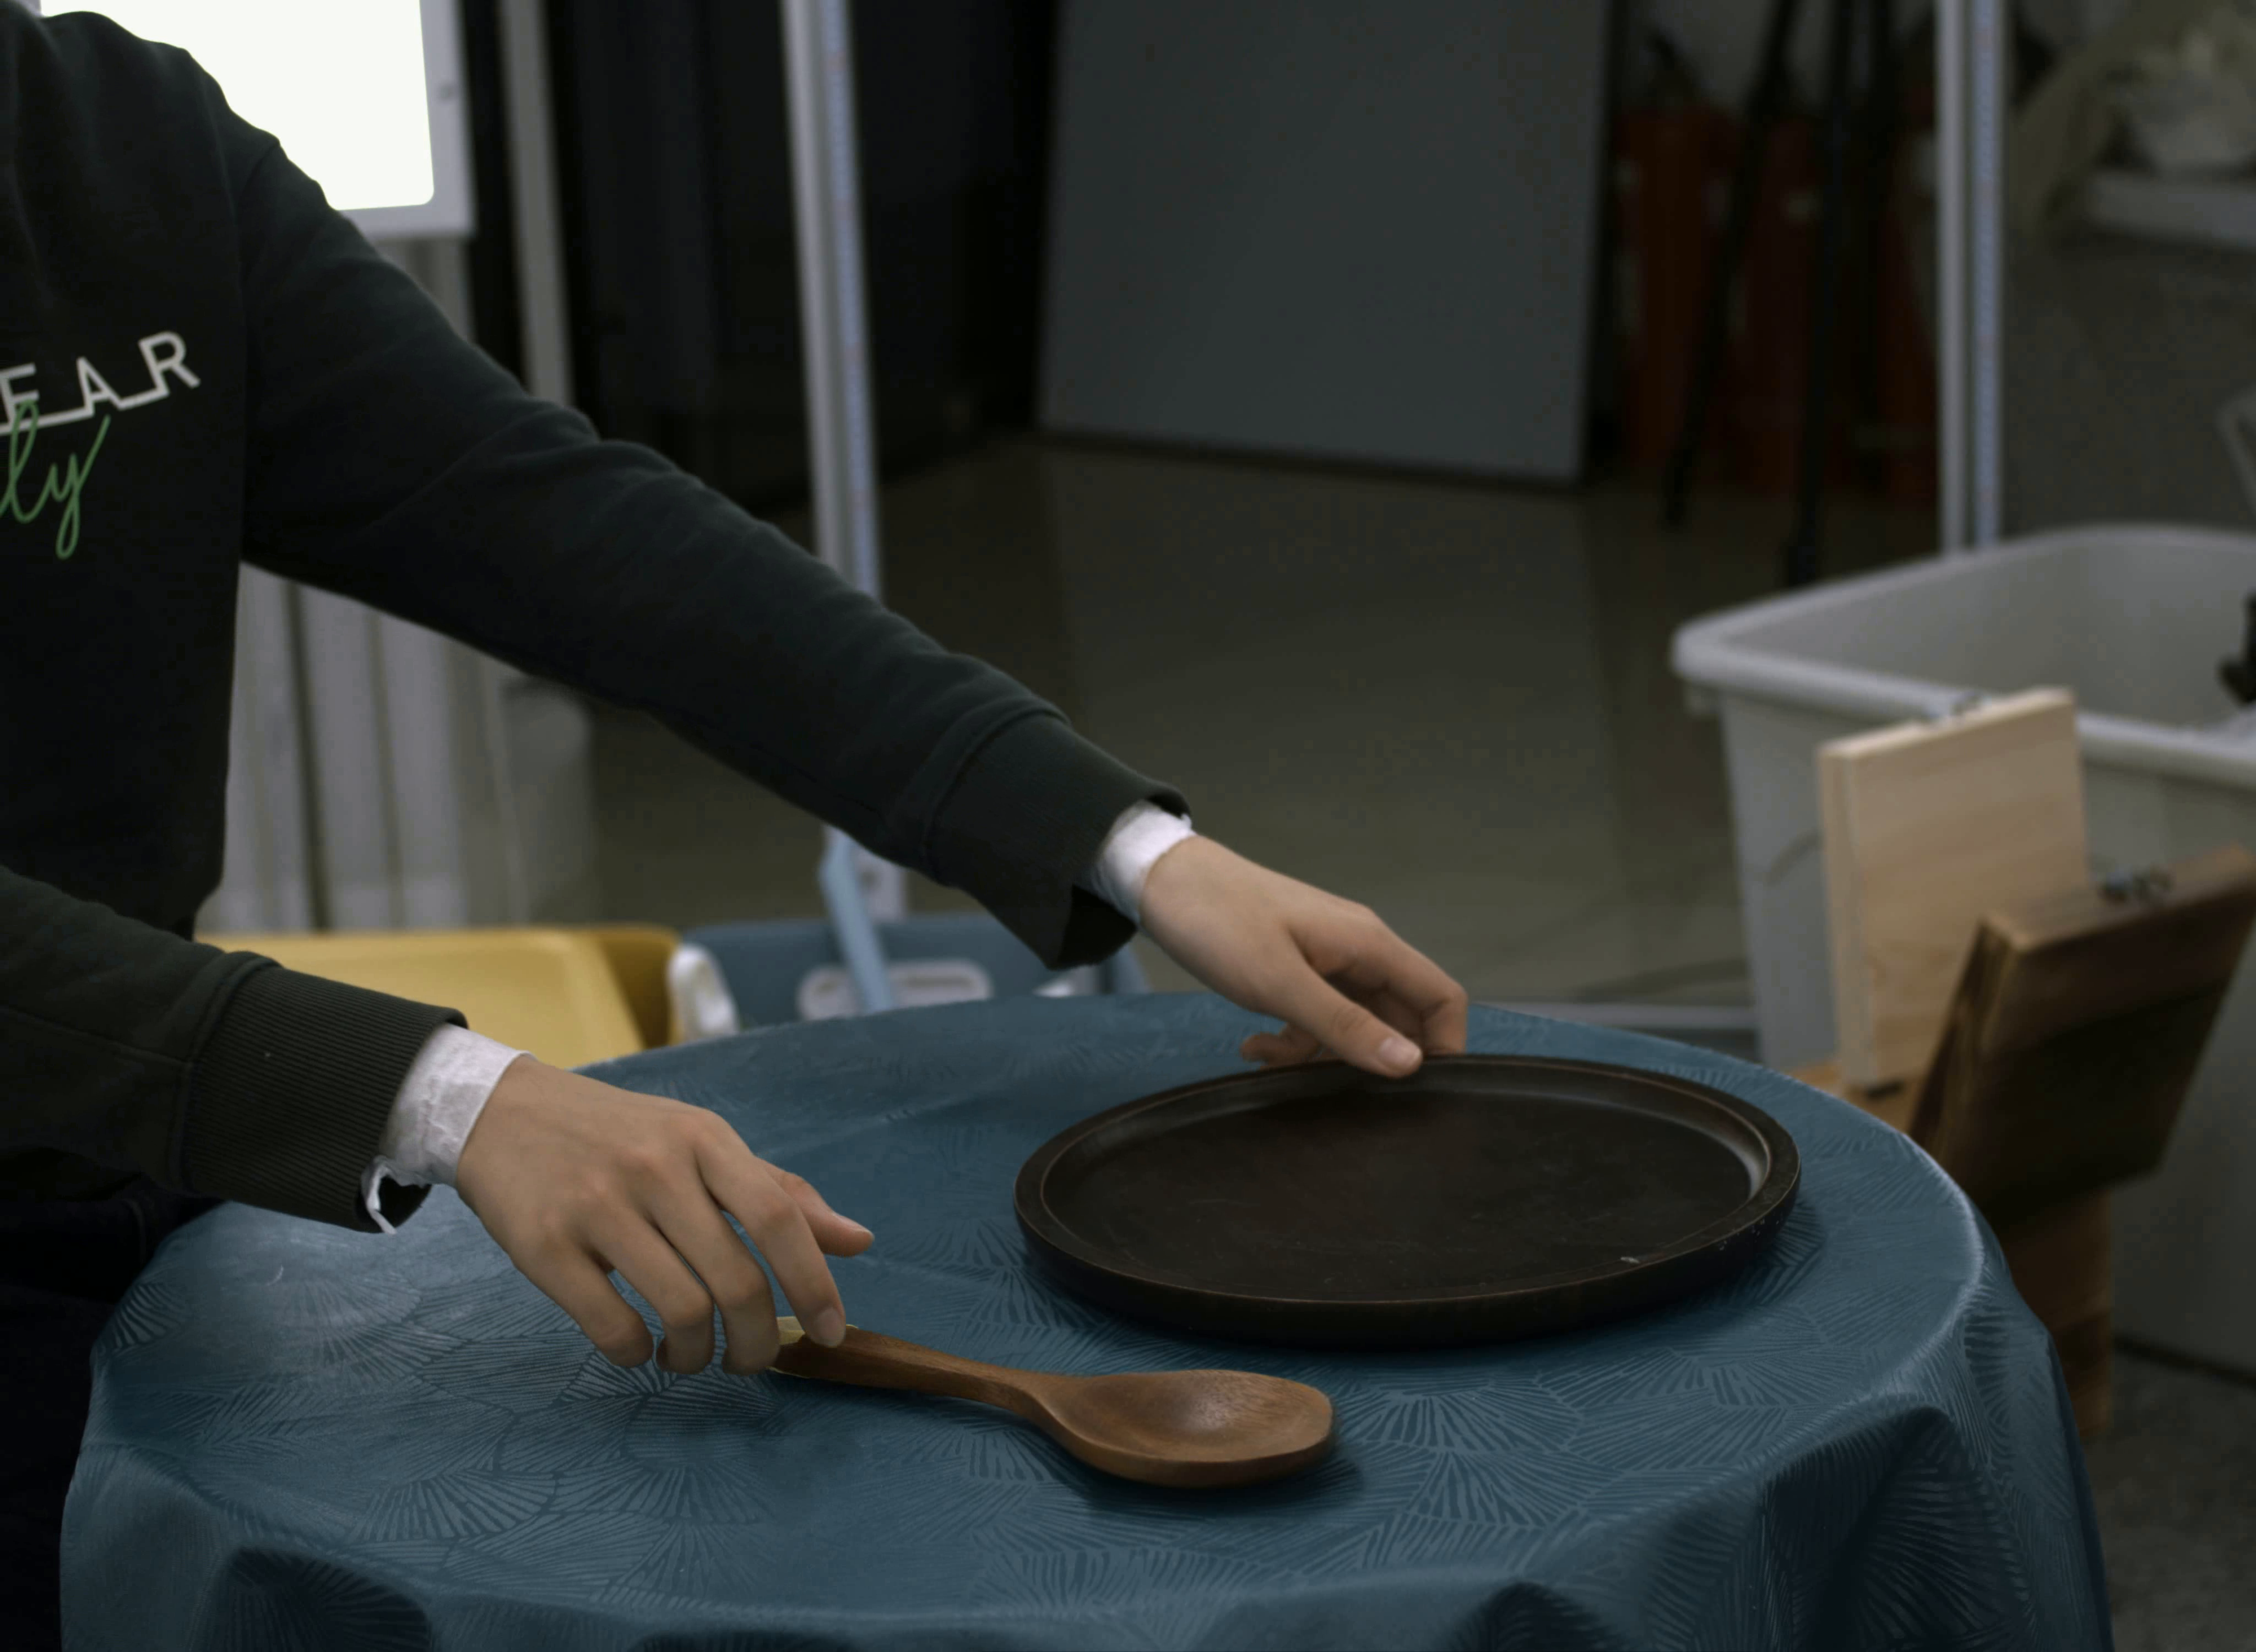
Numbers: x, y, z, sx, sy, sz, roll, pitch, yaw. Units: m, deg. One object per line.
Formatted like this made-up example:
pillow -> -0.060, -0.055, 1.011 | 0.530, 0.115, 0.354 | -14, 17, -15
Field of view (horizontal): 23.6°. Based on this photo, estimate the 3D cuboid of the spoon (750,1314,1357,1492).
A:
spoon -> -0.026, 0.166, 1.562 | 0.217, 0.017, 0.074 | 8, 18, 39

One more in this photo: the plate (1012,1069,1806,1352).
plate -> 0.089, 0.119, 1.708 | 0.251, 0.029, 0.255 | -3, 14, 0
